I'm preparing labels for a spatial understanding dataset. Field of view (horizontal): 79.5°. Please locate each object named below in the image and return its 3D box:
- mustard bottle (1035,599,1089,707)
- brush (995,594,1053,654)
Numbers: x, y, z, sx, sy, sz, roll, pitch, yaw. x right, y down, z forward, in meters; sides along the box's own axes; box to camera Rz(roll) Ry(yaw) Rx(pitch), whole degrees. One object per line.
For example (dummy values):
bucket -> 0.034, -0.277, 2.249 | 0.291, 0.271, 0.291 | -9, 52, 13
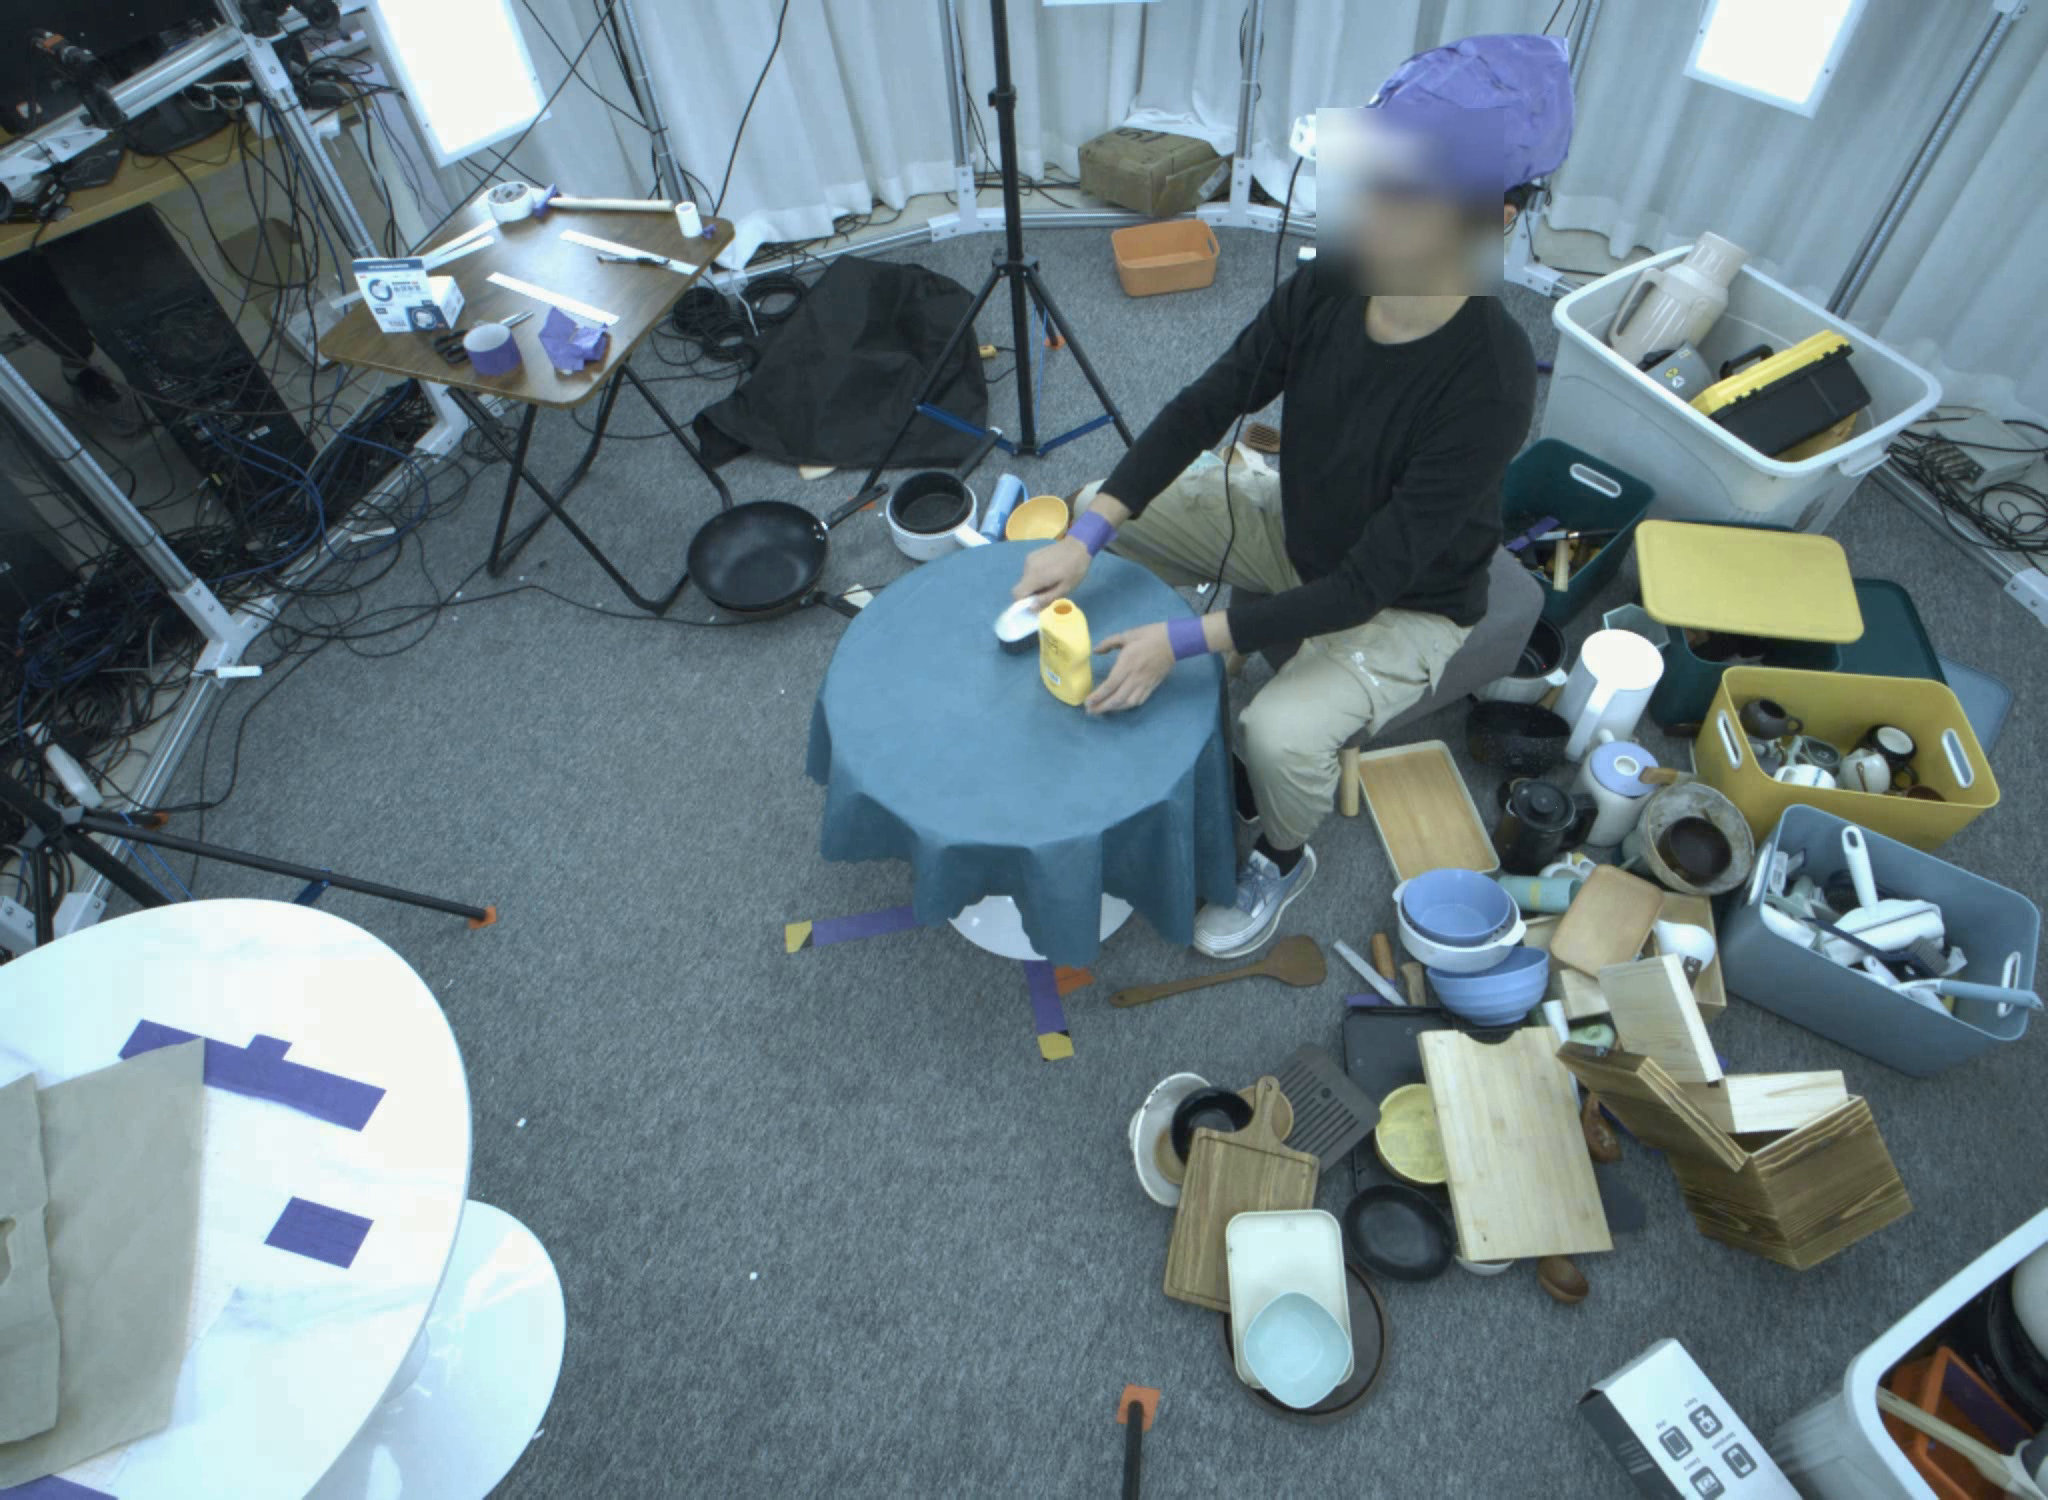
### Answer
mustard bottle -> 0.055, -0.148, 1.790 | 0.060, 0.173, 0.096 | -35, 58, -25
brush -> 0.001, -0.201, 1.885 | 0.100, 0.073, 0.049 | -29, 55, -15
